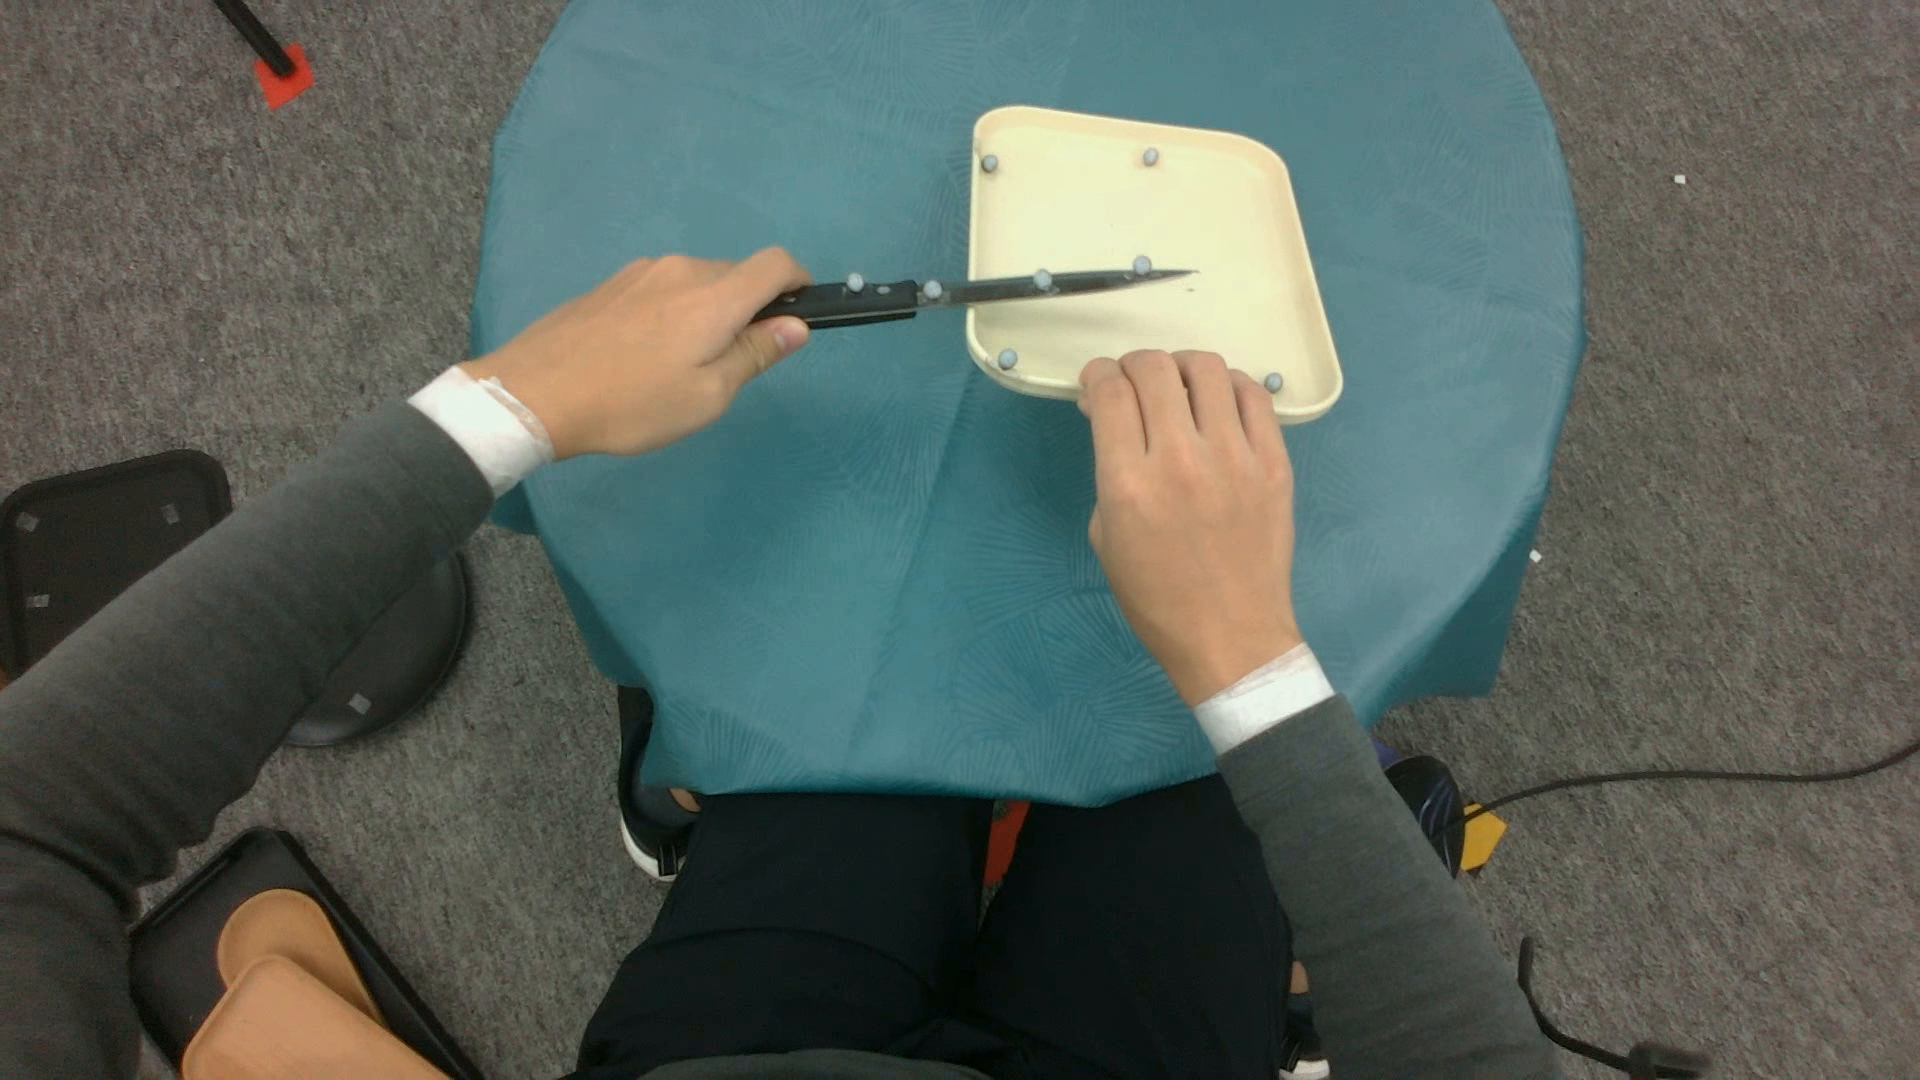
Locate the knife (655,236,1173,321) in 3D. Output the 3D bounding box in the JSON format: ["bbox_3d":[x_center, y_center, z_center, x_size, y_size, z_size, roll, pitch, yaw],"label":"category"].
[{"bbox_3d":[-0.022,-0.121,0.624,0.238,0.016,0.024,-6,43,2],"label":"knife"}]

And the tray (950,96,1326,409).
[{"bbox_3d":[0.078,-0.146,0.675,0.171,0.017,0.241,6,44,-6],"label":"tray"}]
